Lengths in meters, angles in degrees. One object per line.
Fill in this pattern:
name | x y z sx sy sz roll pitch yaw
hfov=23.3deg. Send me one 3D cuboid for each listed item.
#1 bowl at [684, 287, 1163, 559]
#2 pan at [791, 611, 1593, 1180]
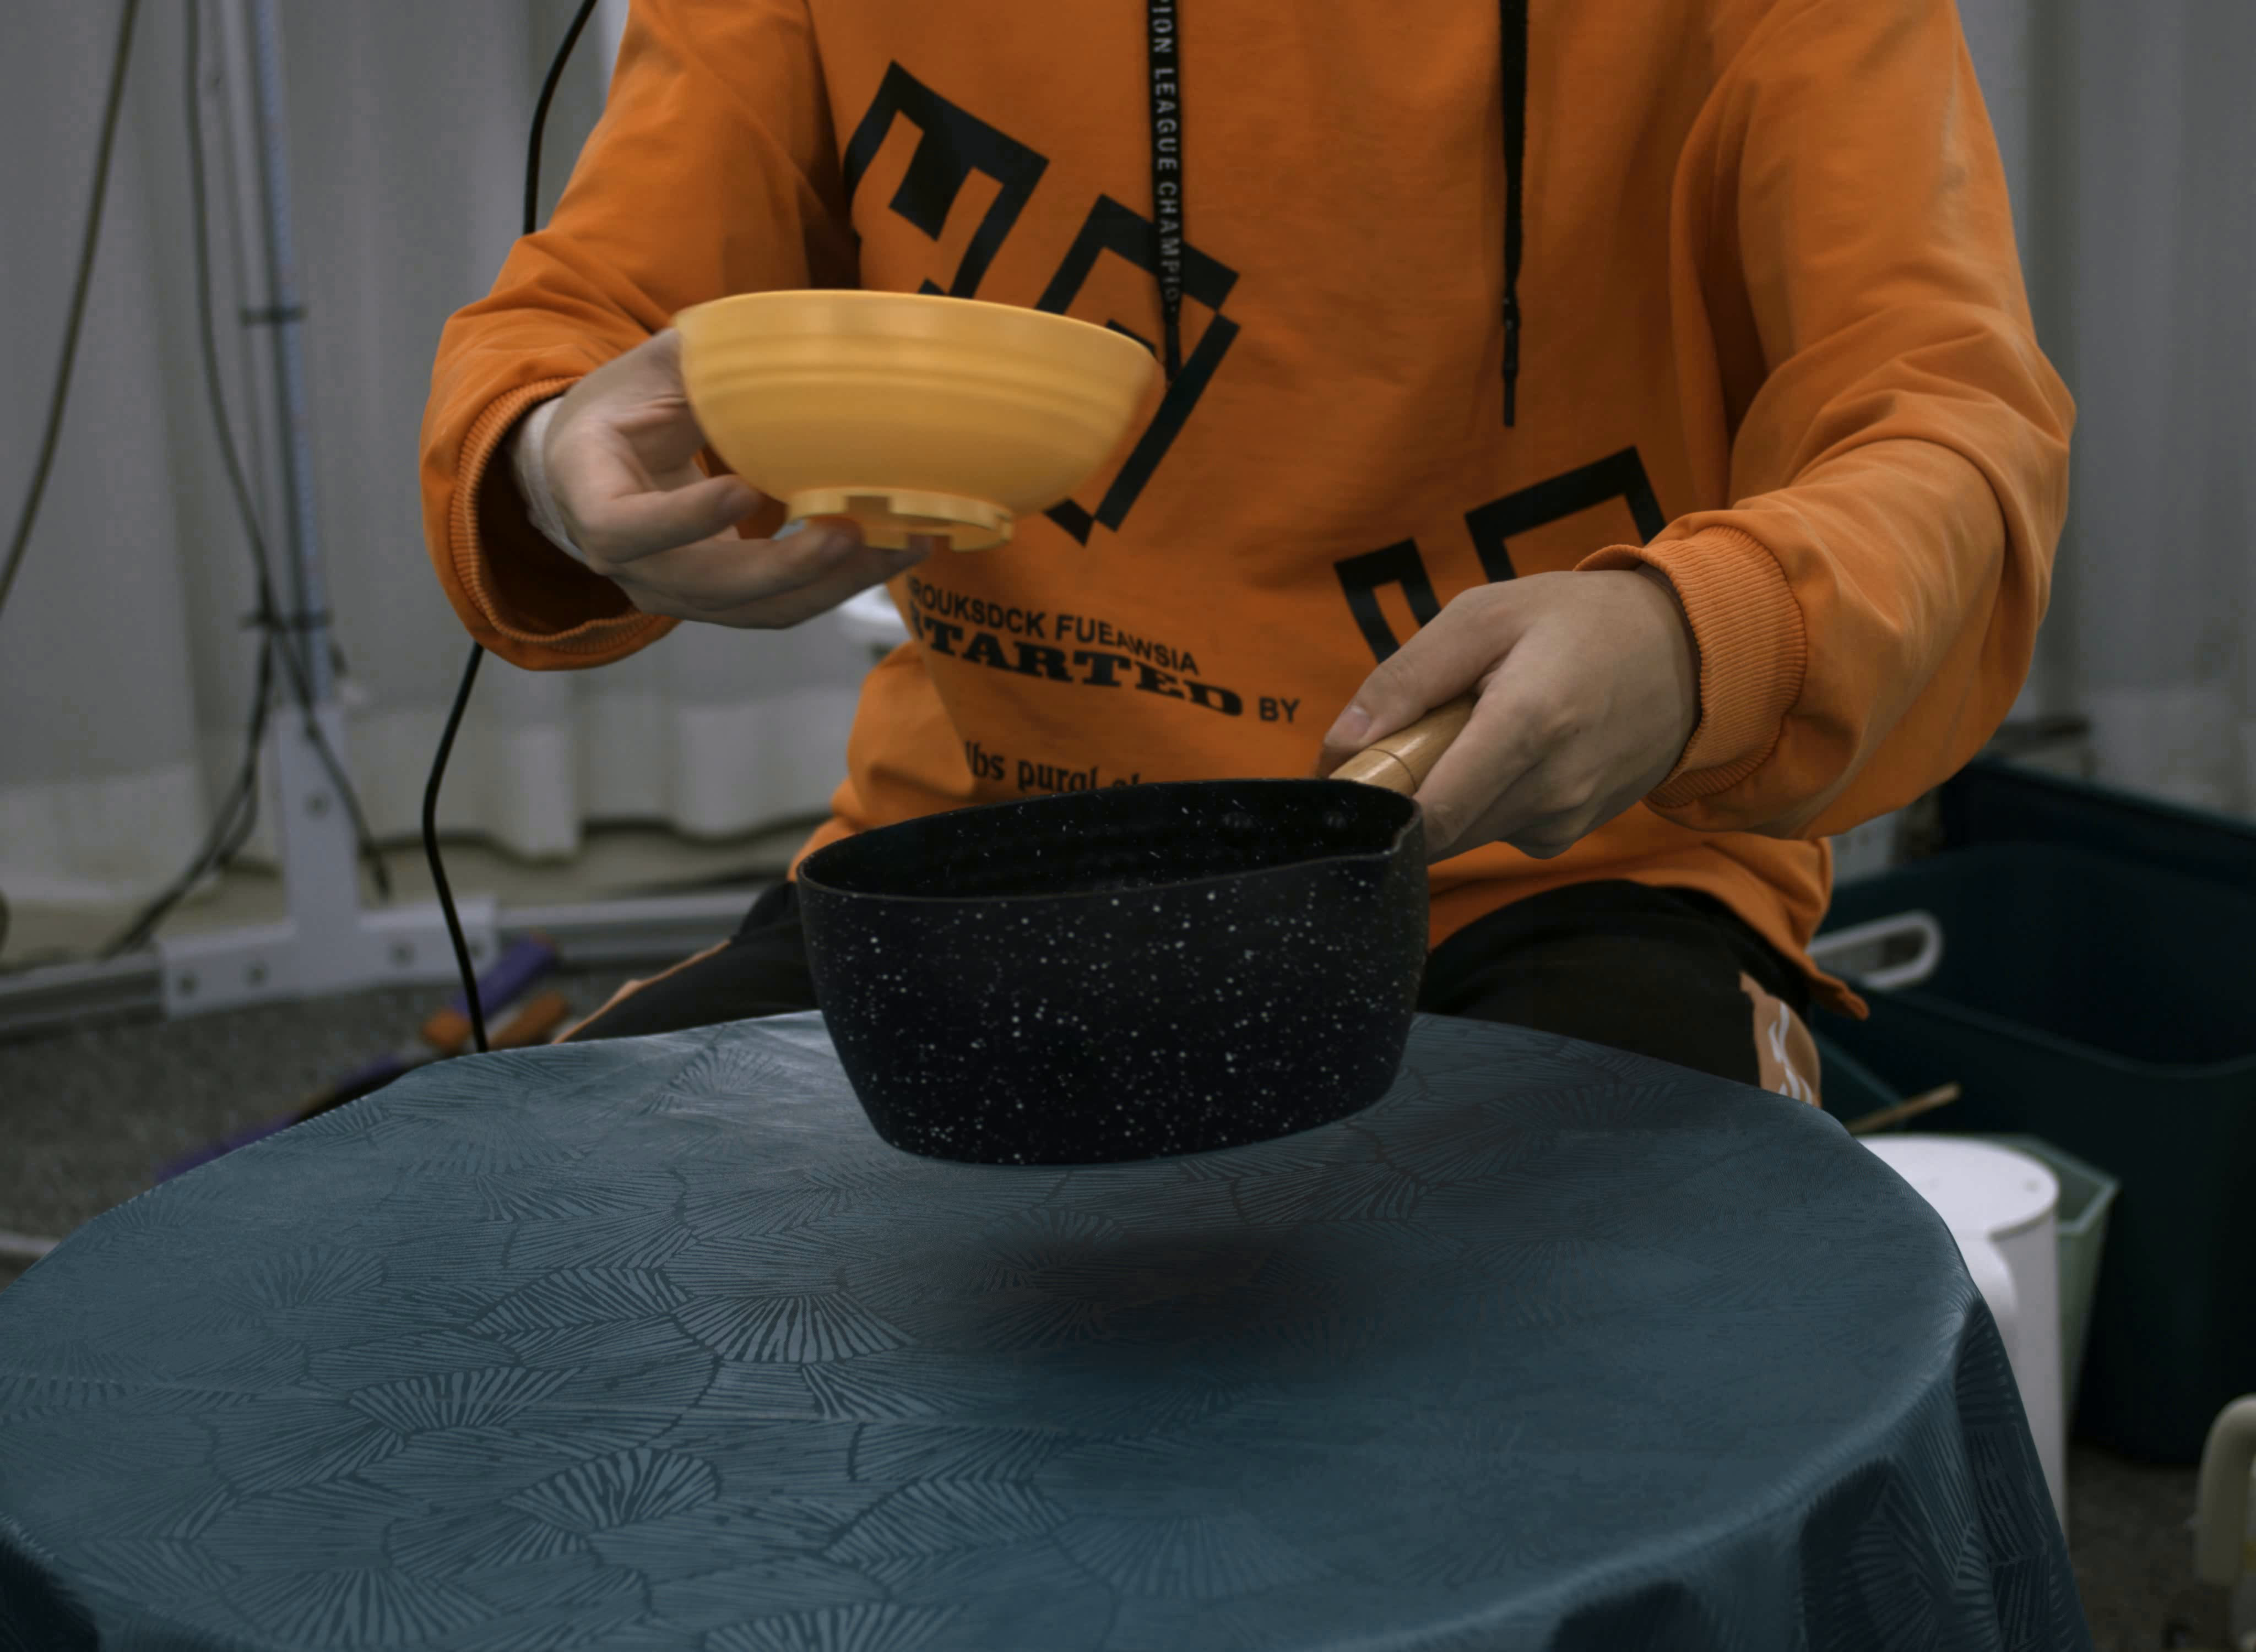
bowl | -0.064 -0.115 1.639 0.145 0.060 0.145 6 -8 1
pan | 0.043 0.018 1.662 0.208 0.108 0.342 0 12 37
